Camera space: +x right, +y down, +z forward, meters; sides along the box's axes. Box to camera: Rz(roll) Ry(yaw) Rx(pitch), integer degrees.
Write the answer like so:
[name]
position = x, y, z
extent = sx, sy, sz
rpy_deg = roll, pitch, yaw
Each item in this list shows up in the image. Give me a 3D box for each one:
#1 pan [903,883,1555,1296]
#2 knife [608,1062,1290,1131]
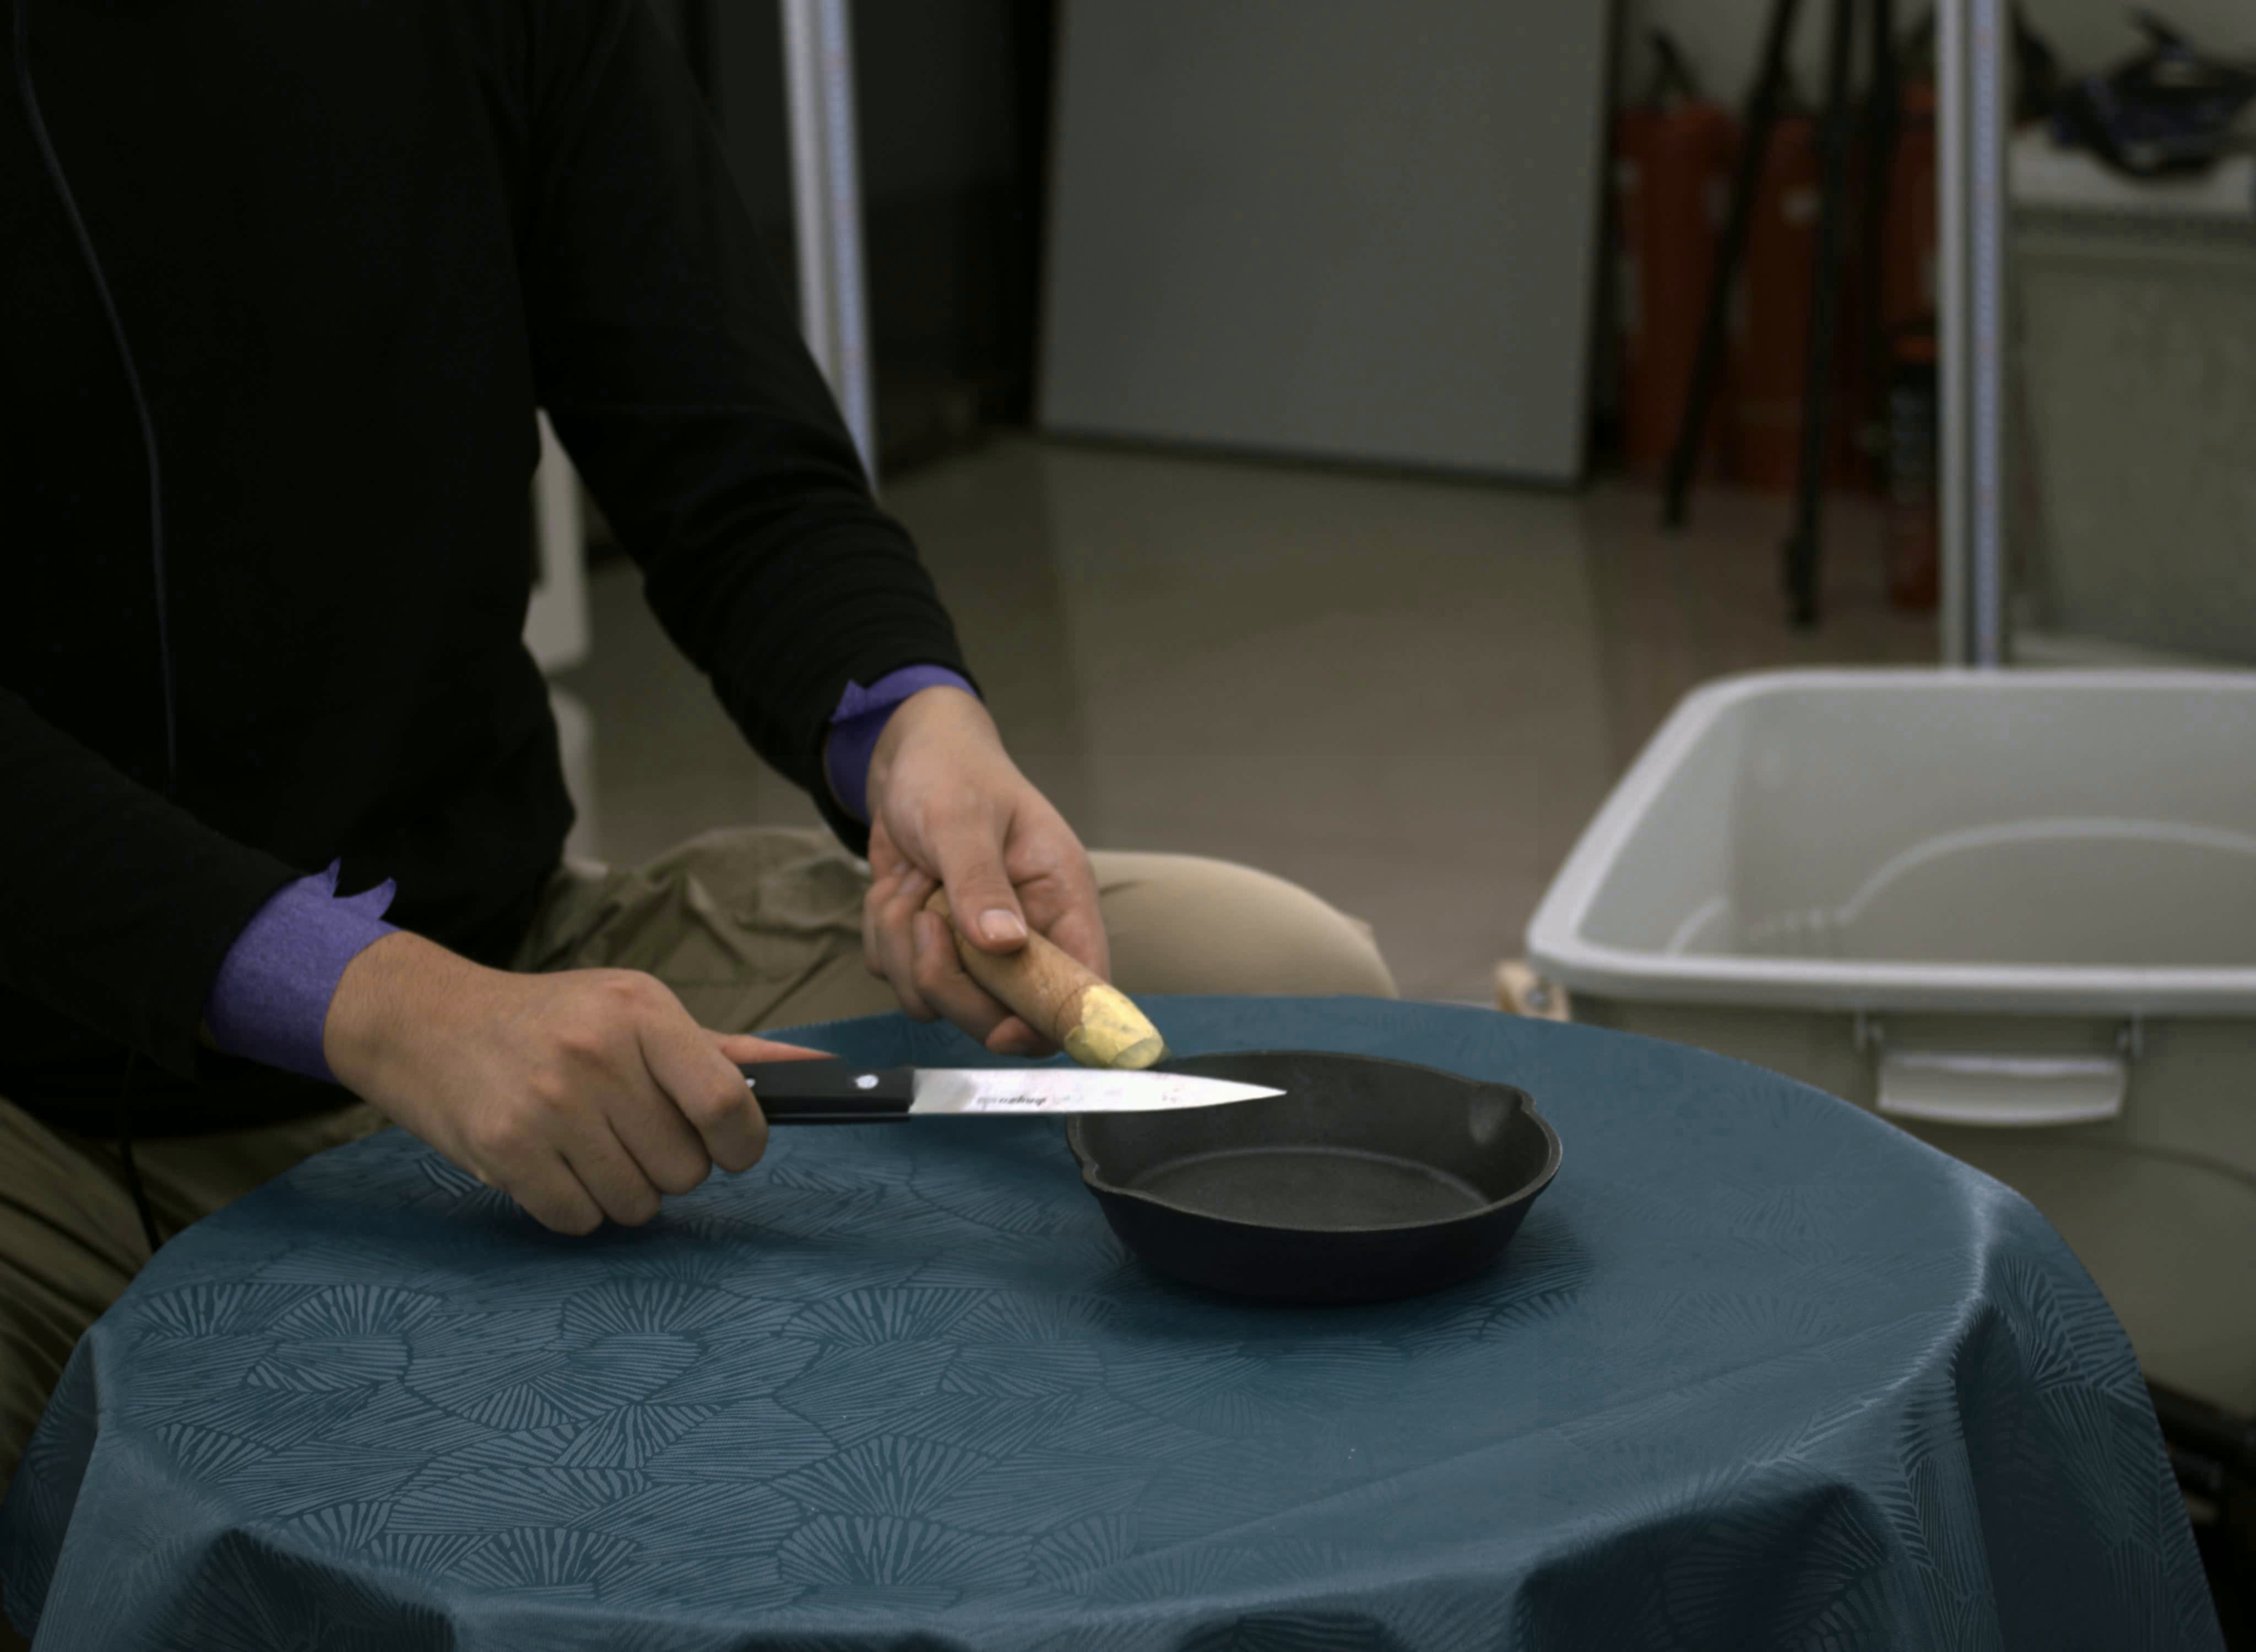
[pan]
position = 0.014, 0.083, 1.766
extent = 0.165, 0.050, 0.328
rpy_deg = -9, 19, -30
[knife]
position = -0.060, 0.086, 1.733
extent = 0.238, 0.016, 0.024
rpy_deg = -2, 38, 21
